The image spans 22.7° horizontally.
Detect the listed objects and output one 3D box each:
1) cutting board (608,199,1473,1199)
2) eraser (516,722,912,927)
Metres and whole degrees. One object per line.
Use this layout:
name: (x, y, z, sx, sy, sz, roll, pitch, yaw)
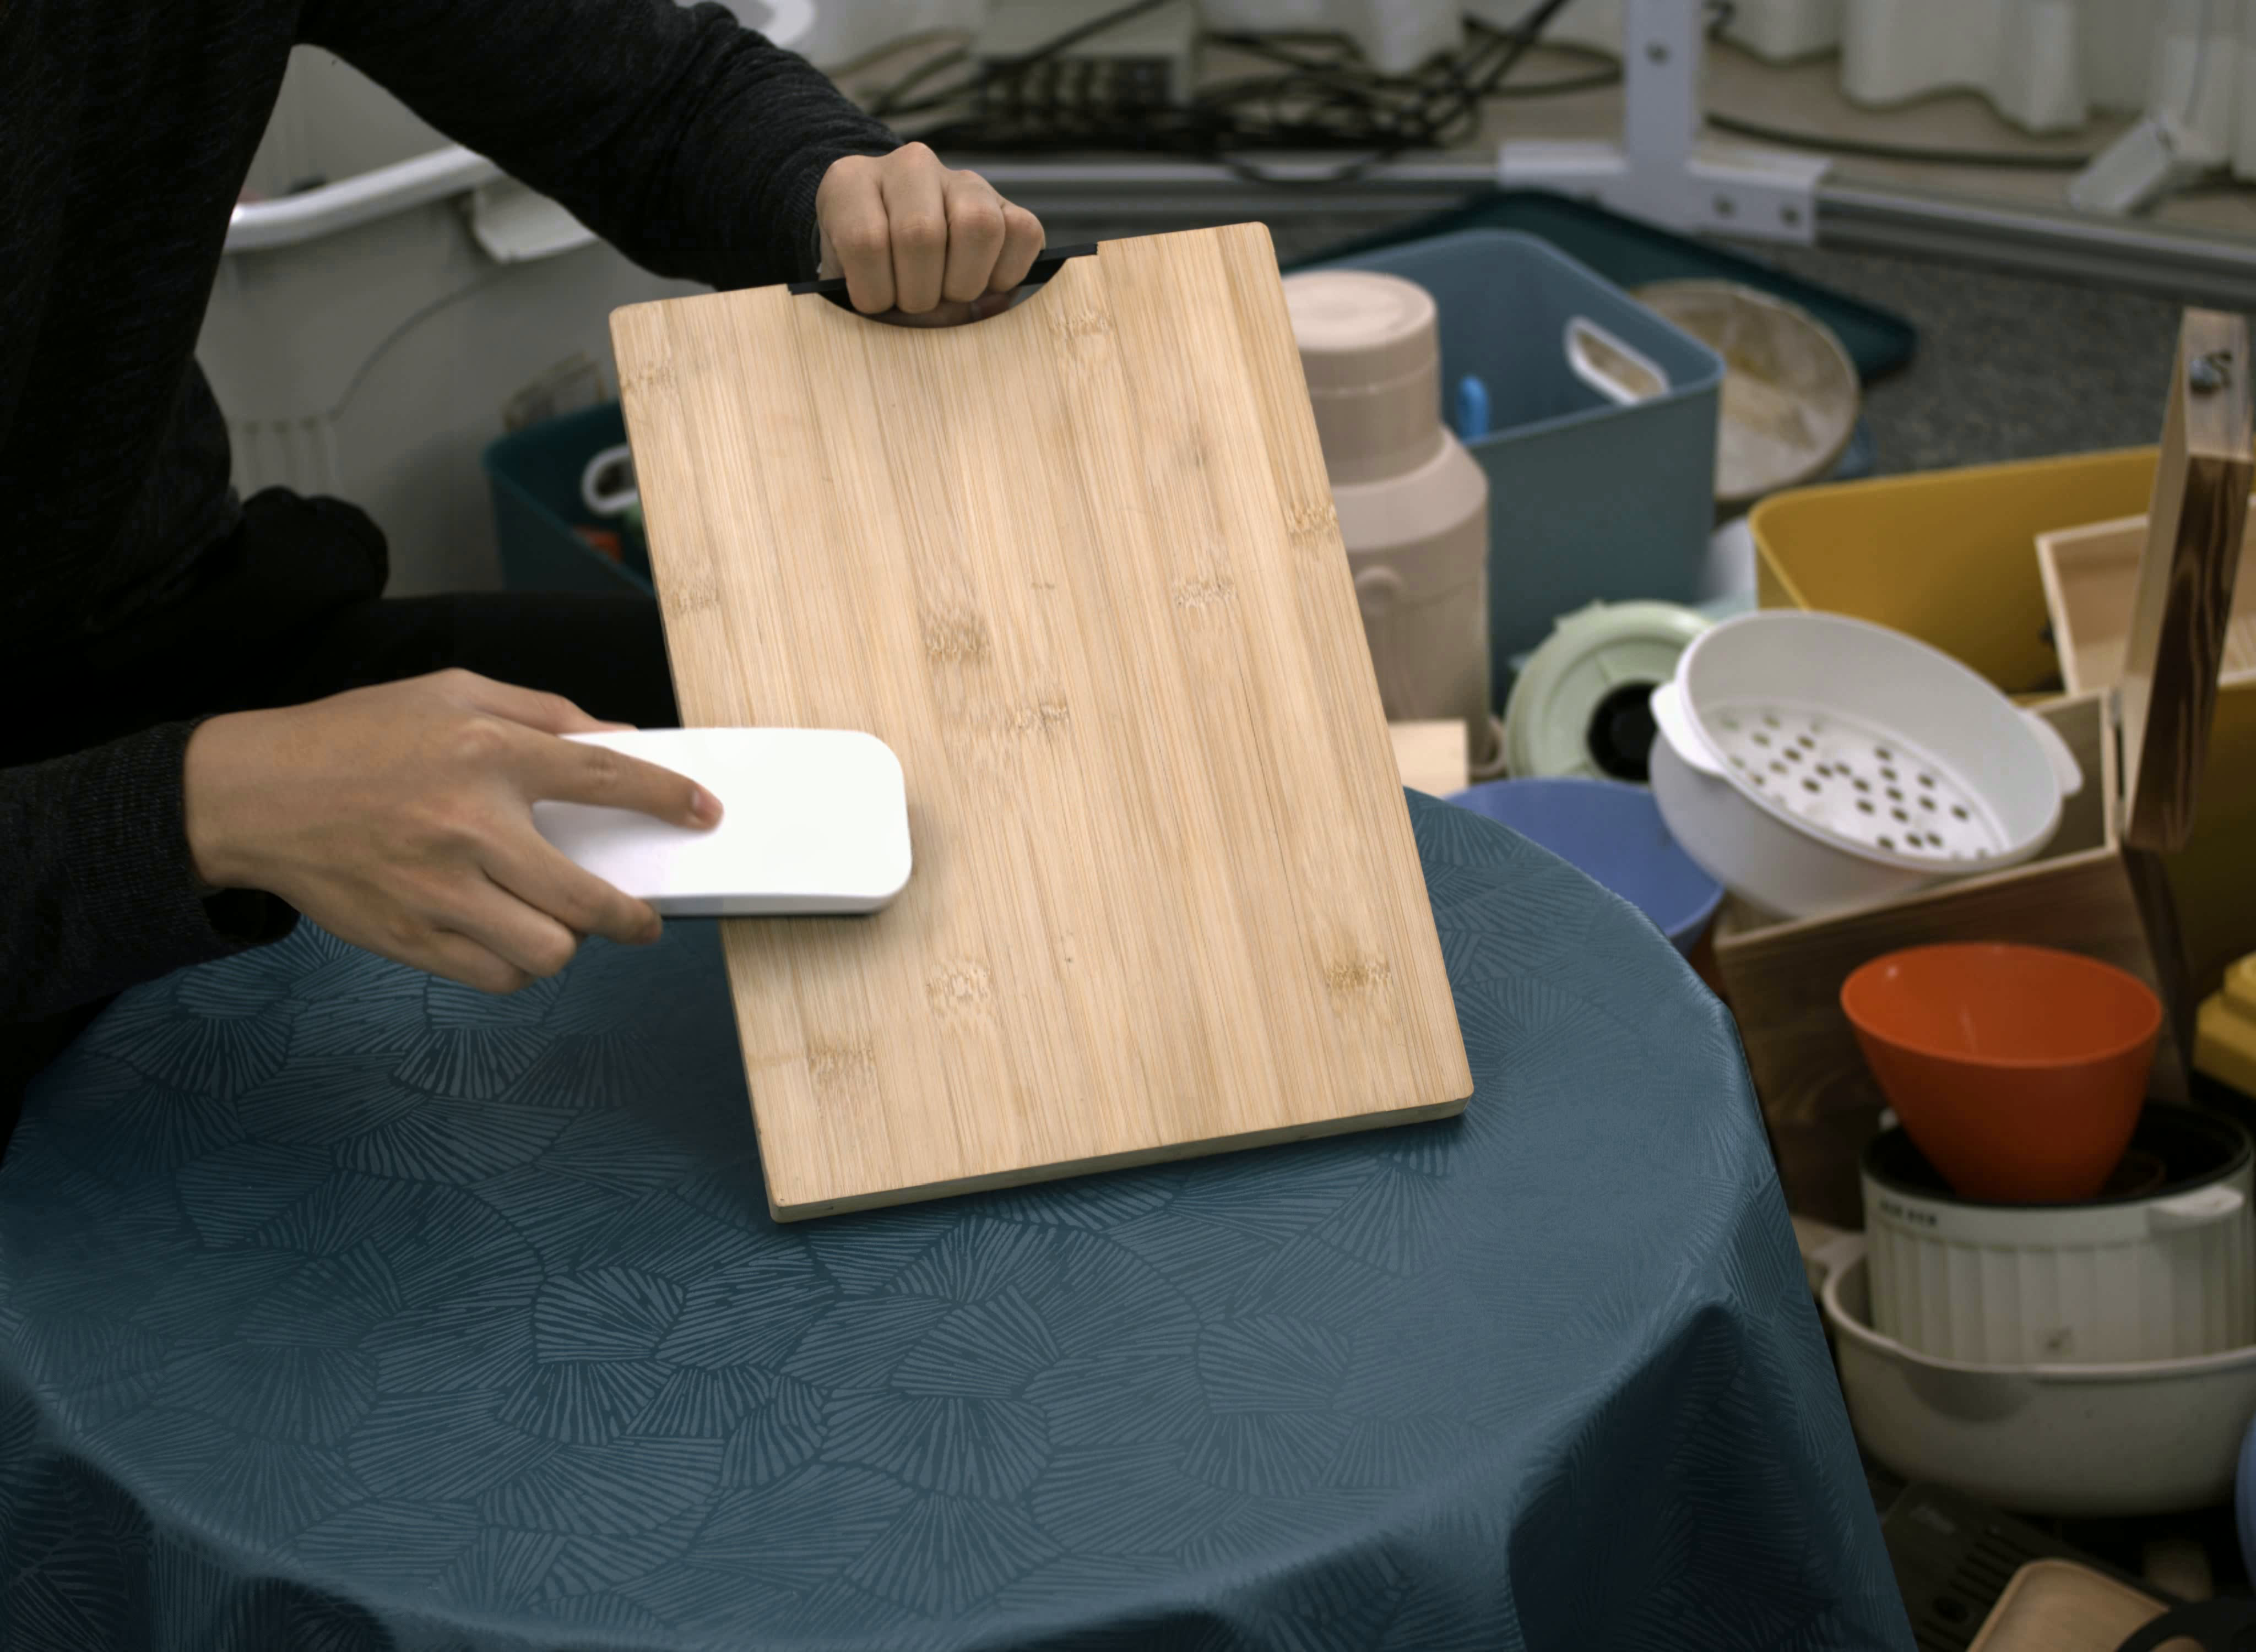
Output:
cutting board: (-0.034, -0.048, 1.939, 0.250, 0.023, 0.354, -8, 66, -11)
eraser: (-0.138, 0.001, 1.870, 0.131, 0.034, 0.064, 0, 64, -14)
